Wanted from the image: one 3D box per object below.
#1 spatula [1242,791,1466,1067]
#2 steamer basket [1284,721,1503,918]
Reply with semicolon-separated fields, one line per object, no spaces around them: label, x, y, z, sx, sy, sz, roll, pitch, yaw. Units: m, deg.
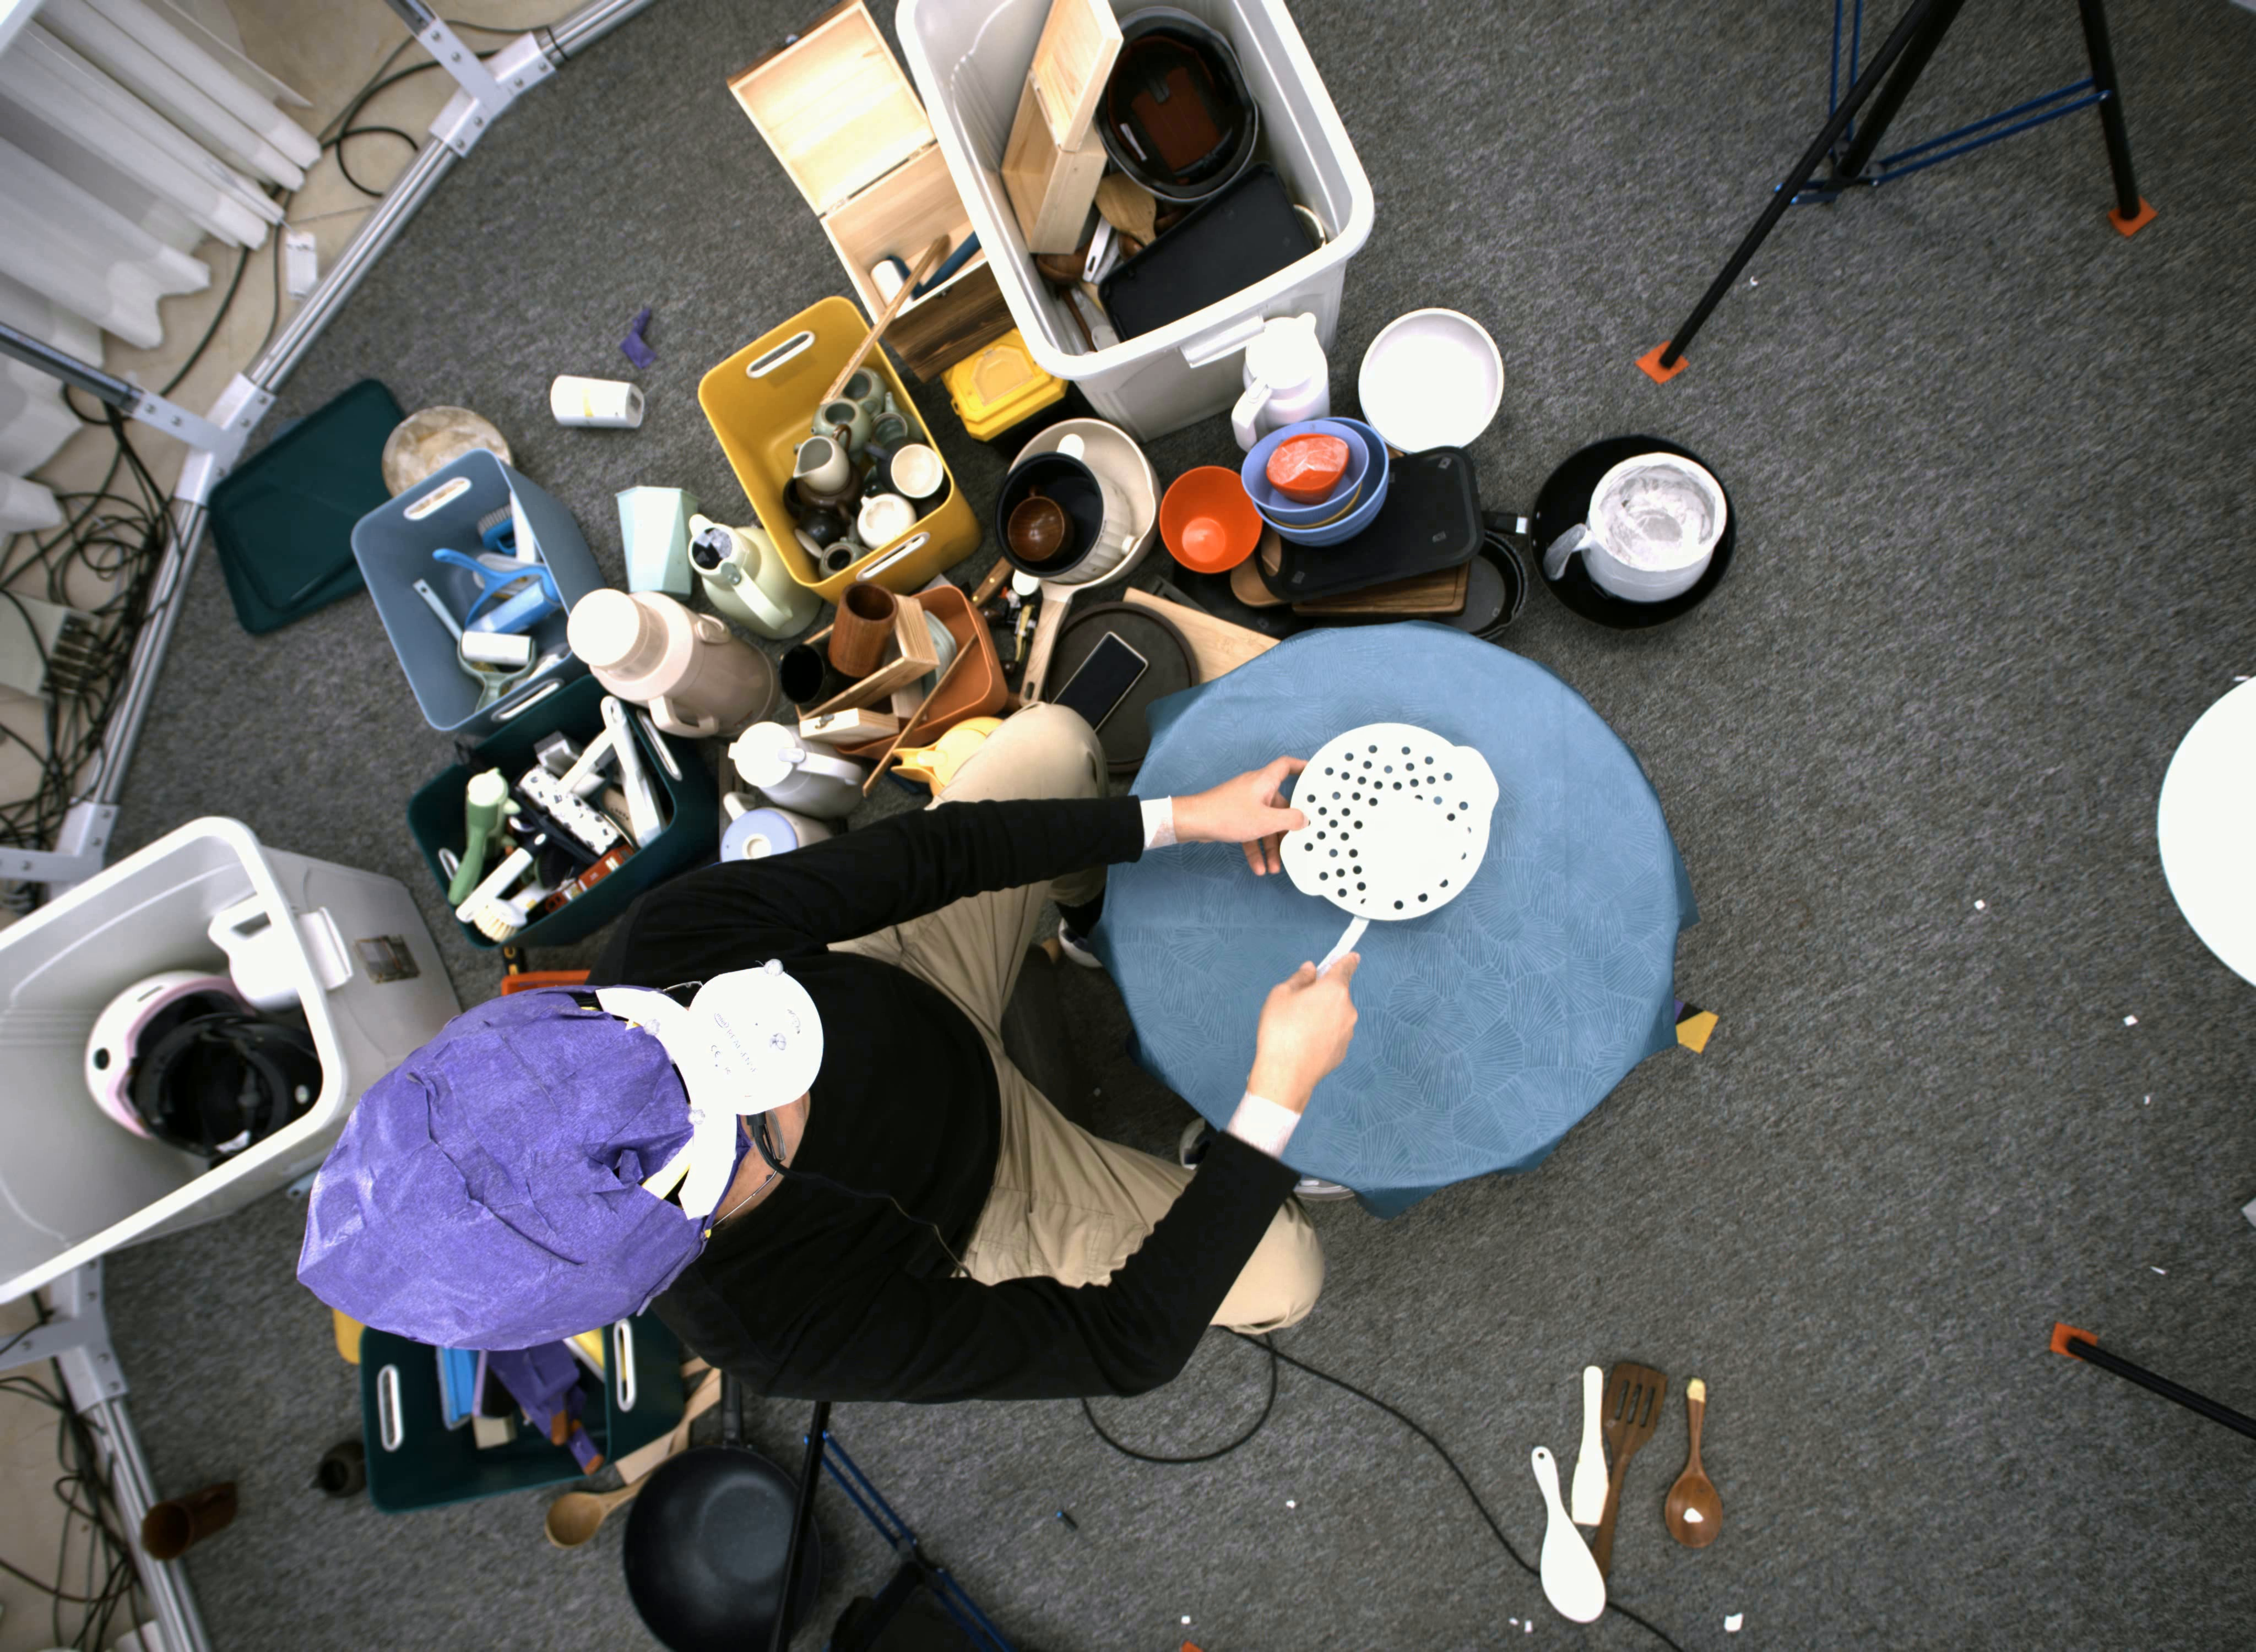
spatula;0.206;0.095;1.294;0.098;0.046;0.356;30;51;16
steamer basket;0.273;-0.006;1.426;0.232;0.069;0.200;-27;82;7
